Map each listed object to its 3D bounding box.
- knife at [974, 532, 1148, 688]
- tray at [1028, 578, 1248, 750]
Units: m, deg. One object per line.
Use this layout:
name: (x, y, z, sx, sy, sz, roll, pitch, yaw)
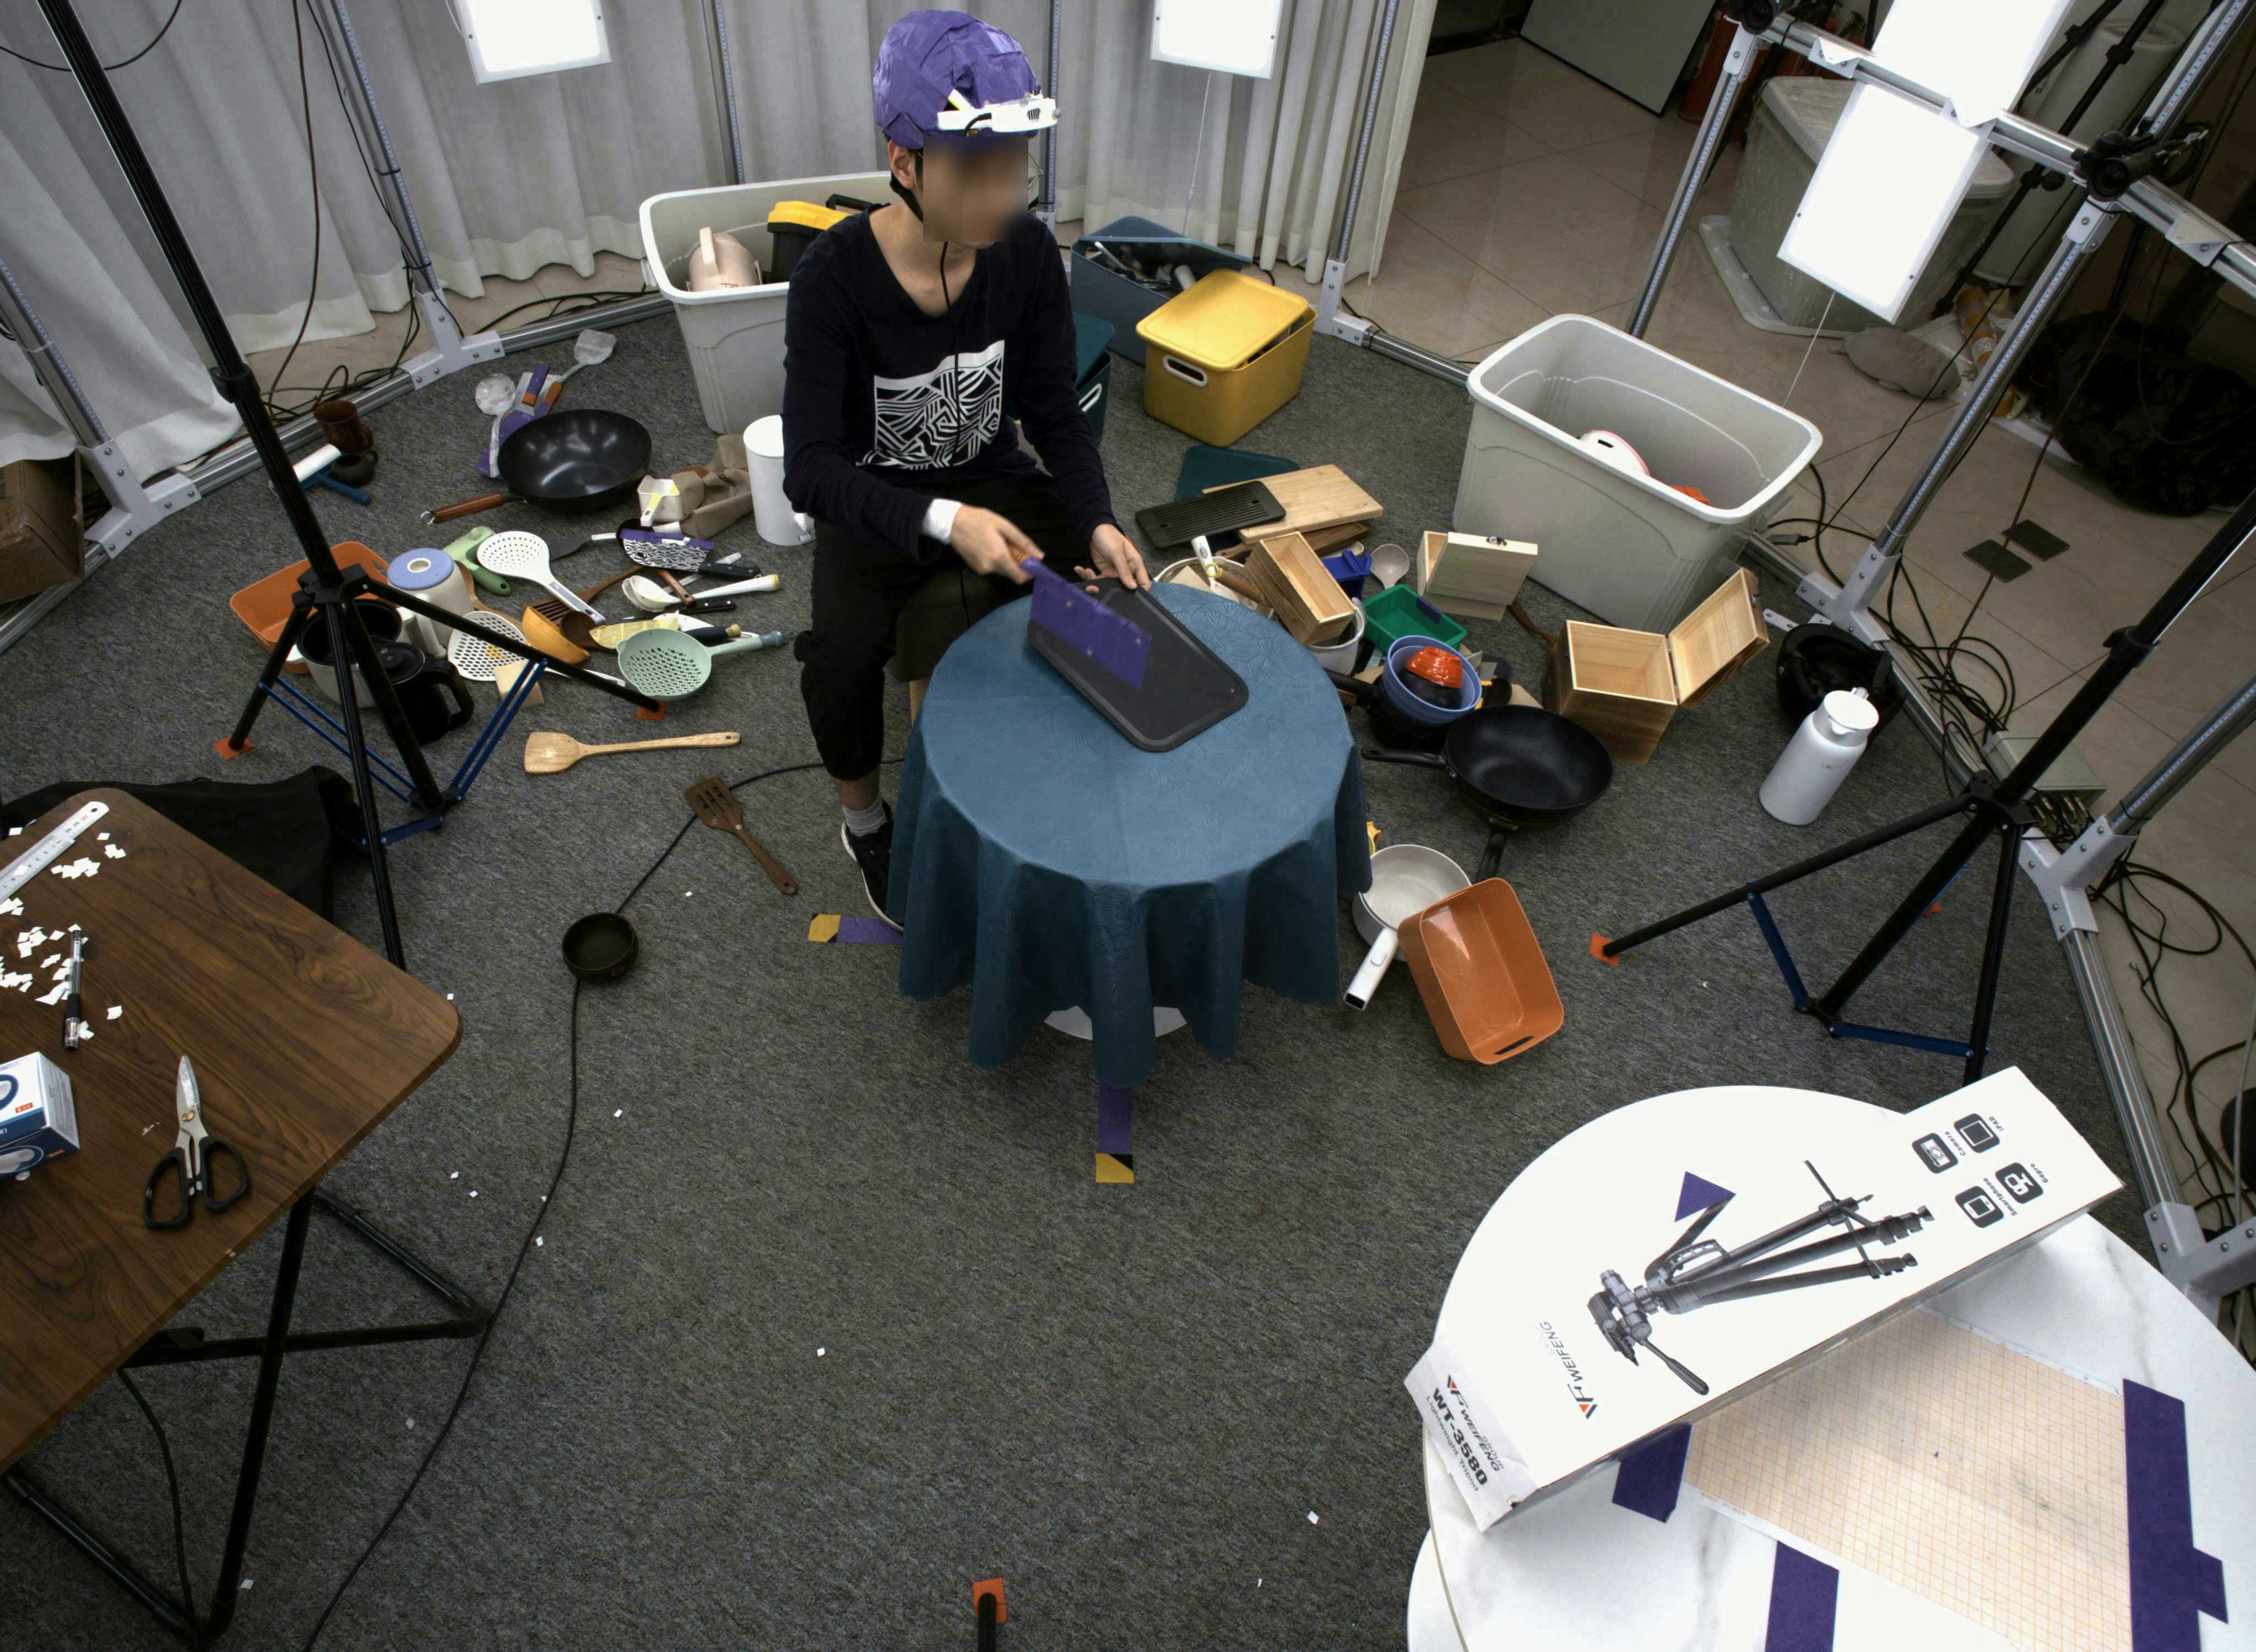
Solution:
knife: (-0.099, -0.295, 1.774, 0.320, 0.101, 0.032, 38, 45, 25)
tray: (0.007, -0.245, 1.859, 0.212, 0.009, 0.330, -31, 62, -27)
